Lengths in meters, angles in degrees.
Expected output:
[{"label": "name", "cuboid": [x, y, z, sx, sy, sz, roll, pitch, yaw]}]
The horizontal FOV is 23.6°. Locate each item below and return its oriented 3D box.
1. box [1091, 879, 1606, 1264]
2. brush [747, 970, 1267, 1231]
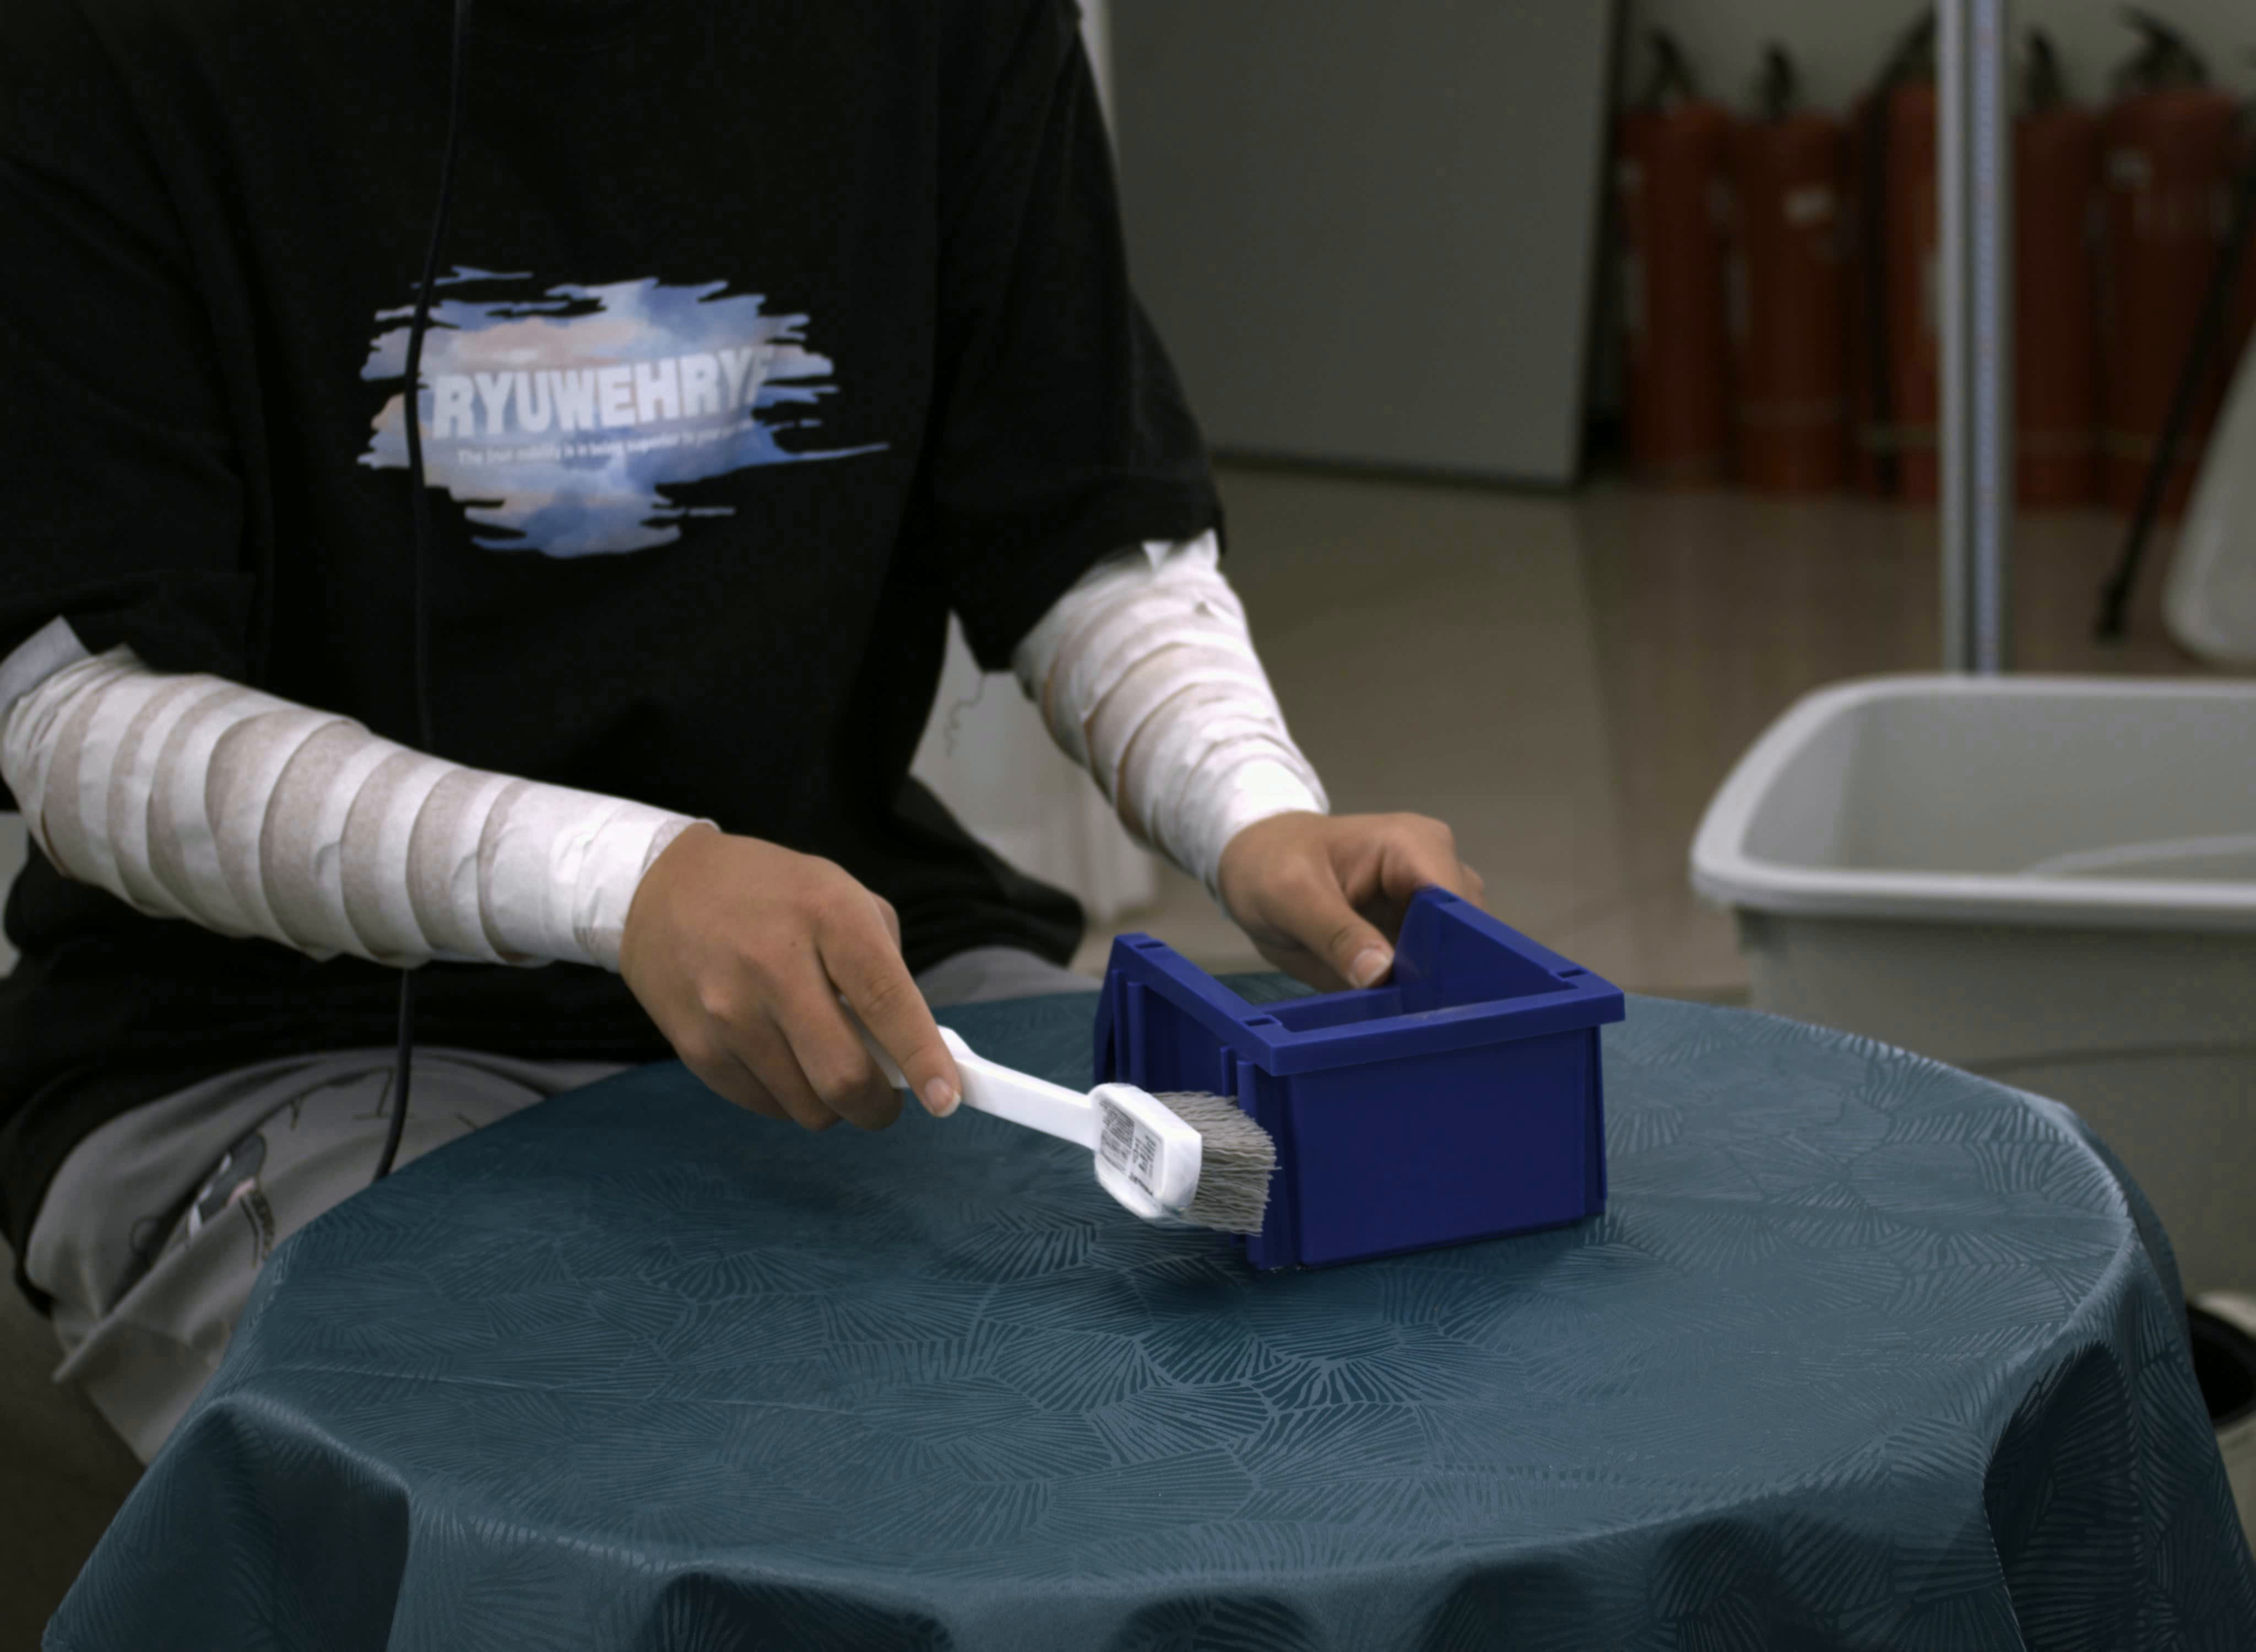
[{"label": "box", "cuboid": [0.067, 0.077, 1.763, 0.122, 0.083, 0.181, -8, 15, -16]}, {"label": "brush", "cuboid": [-0.039, 0.084, 1.731, 0.049, 0.035, 0.246, 4, 9, -38]}]
